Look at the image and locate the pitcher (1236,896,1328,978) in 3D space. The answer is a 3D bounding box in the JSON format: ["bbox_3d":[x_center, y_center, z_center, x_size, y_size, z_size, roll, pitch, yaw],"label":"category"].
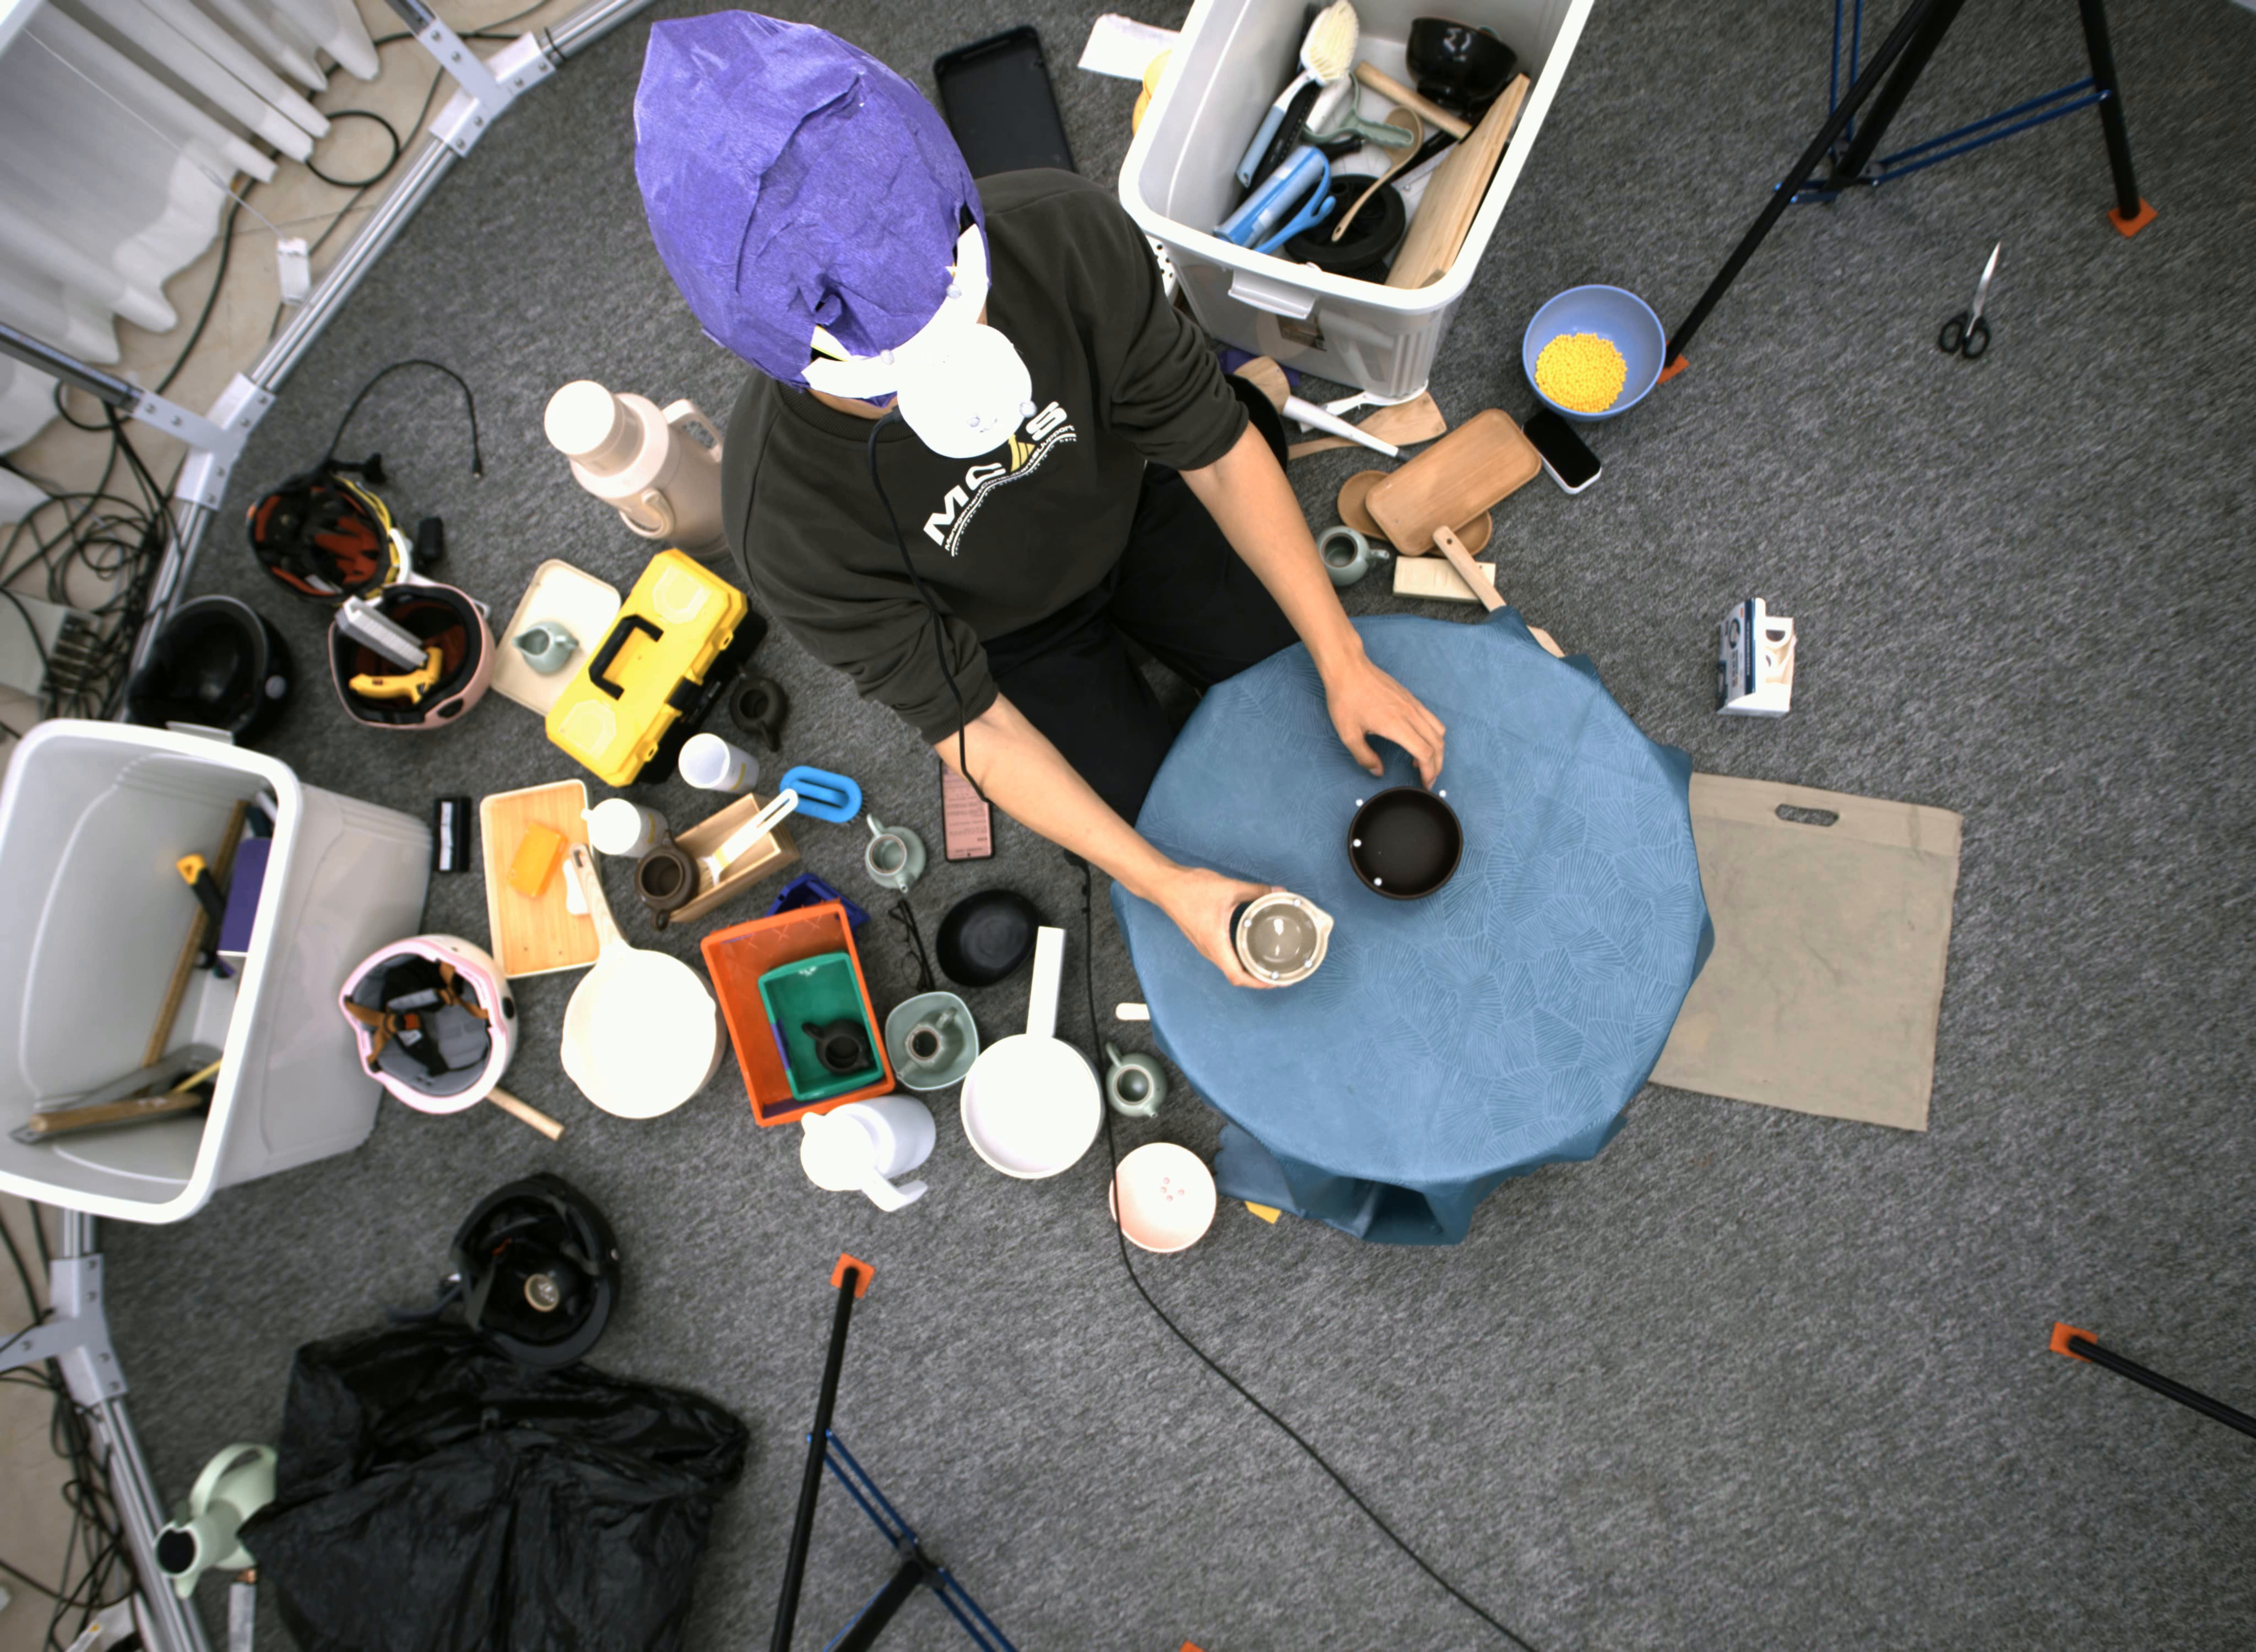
[{"bbox_3d":[0.158,0.114,1.434,0.096,0.071,0.083,-14,84,3],"label":"pitcher"}]

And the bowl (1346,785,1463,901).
[{"bbox_3d":[0.285,0.017,1.424,0.118,0.070,0.117,-1,88,10],"label":"bowl"}]
